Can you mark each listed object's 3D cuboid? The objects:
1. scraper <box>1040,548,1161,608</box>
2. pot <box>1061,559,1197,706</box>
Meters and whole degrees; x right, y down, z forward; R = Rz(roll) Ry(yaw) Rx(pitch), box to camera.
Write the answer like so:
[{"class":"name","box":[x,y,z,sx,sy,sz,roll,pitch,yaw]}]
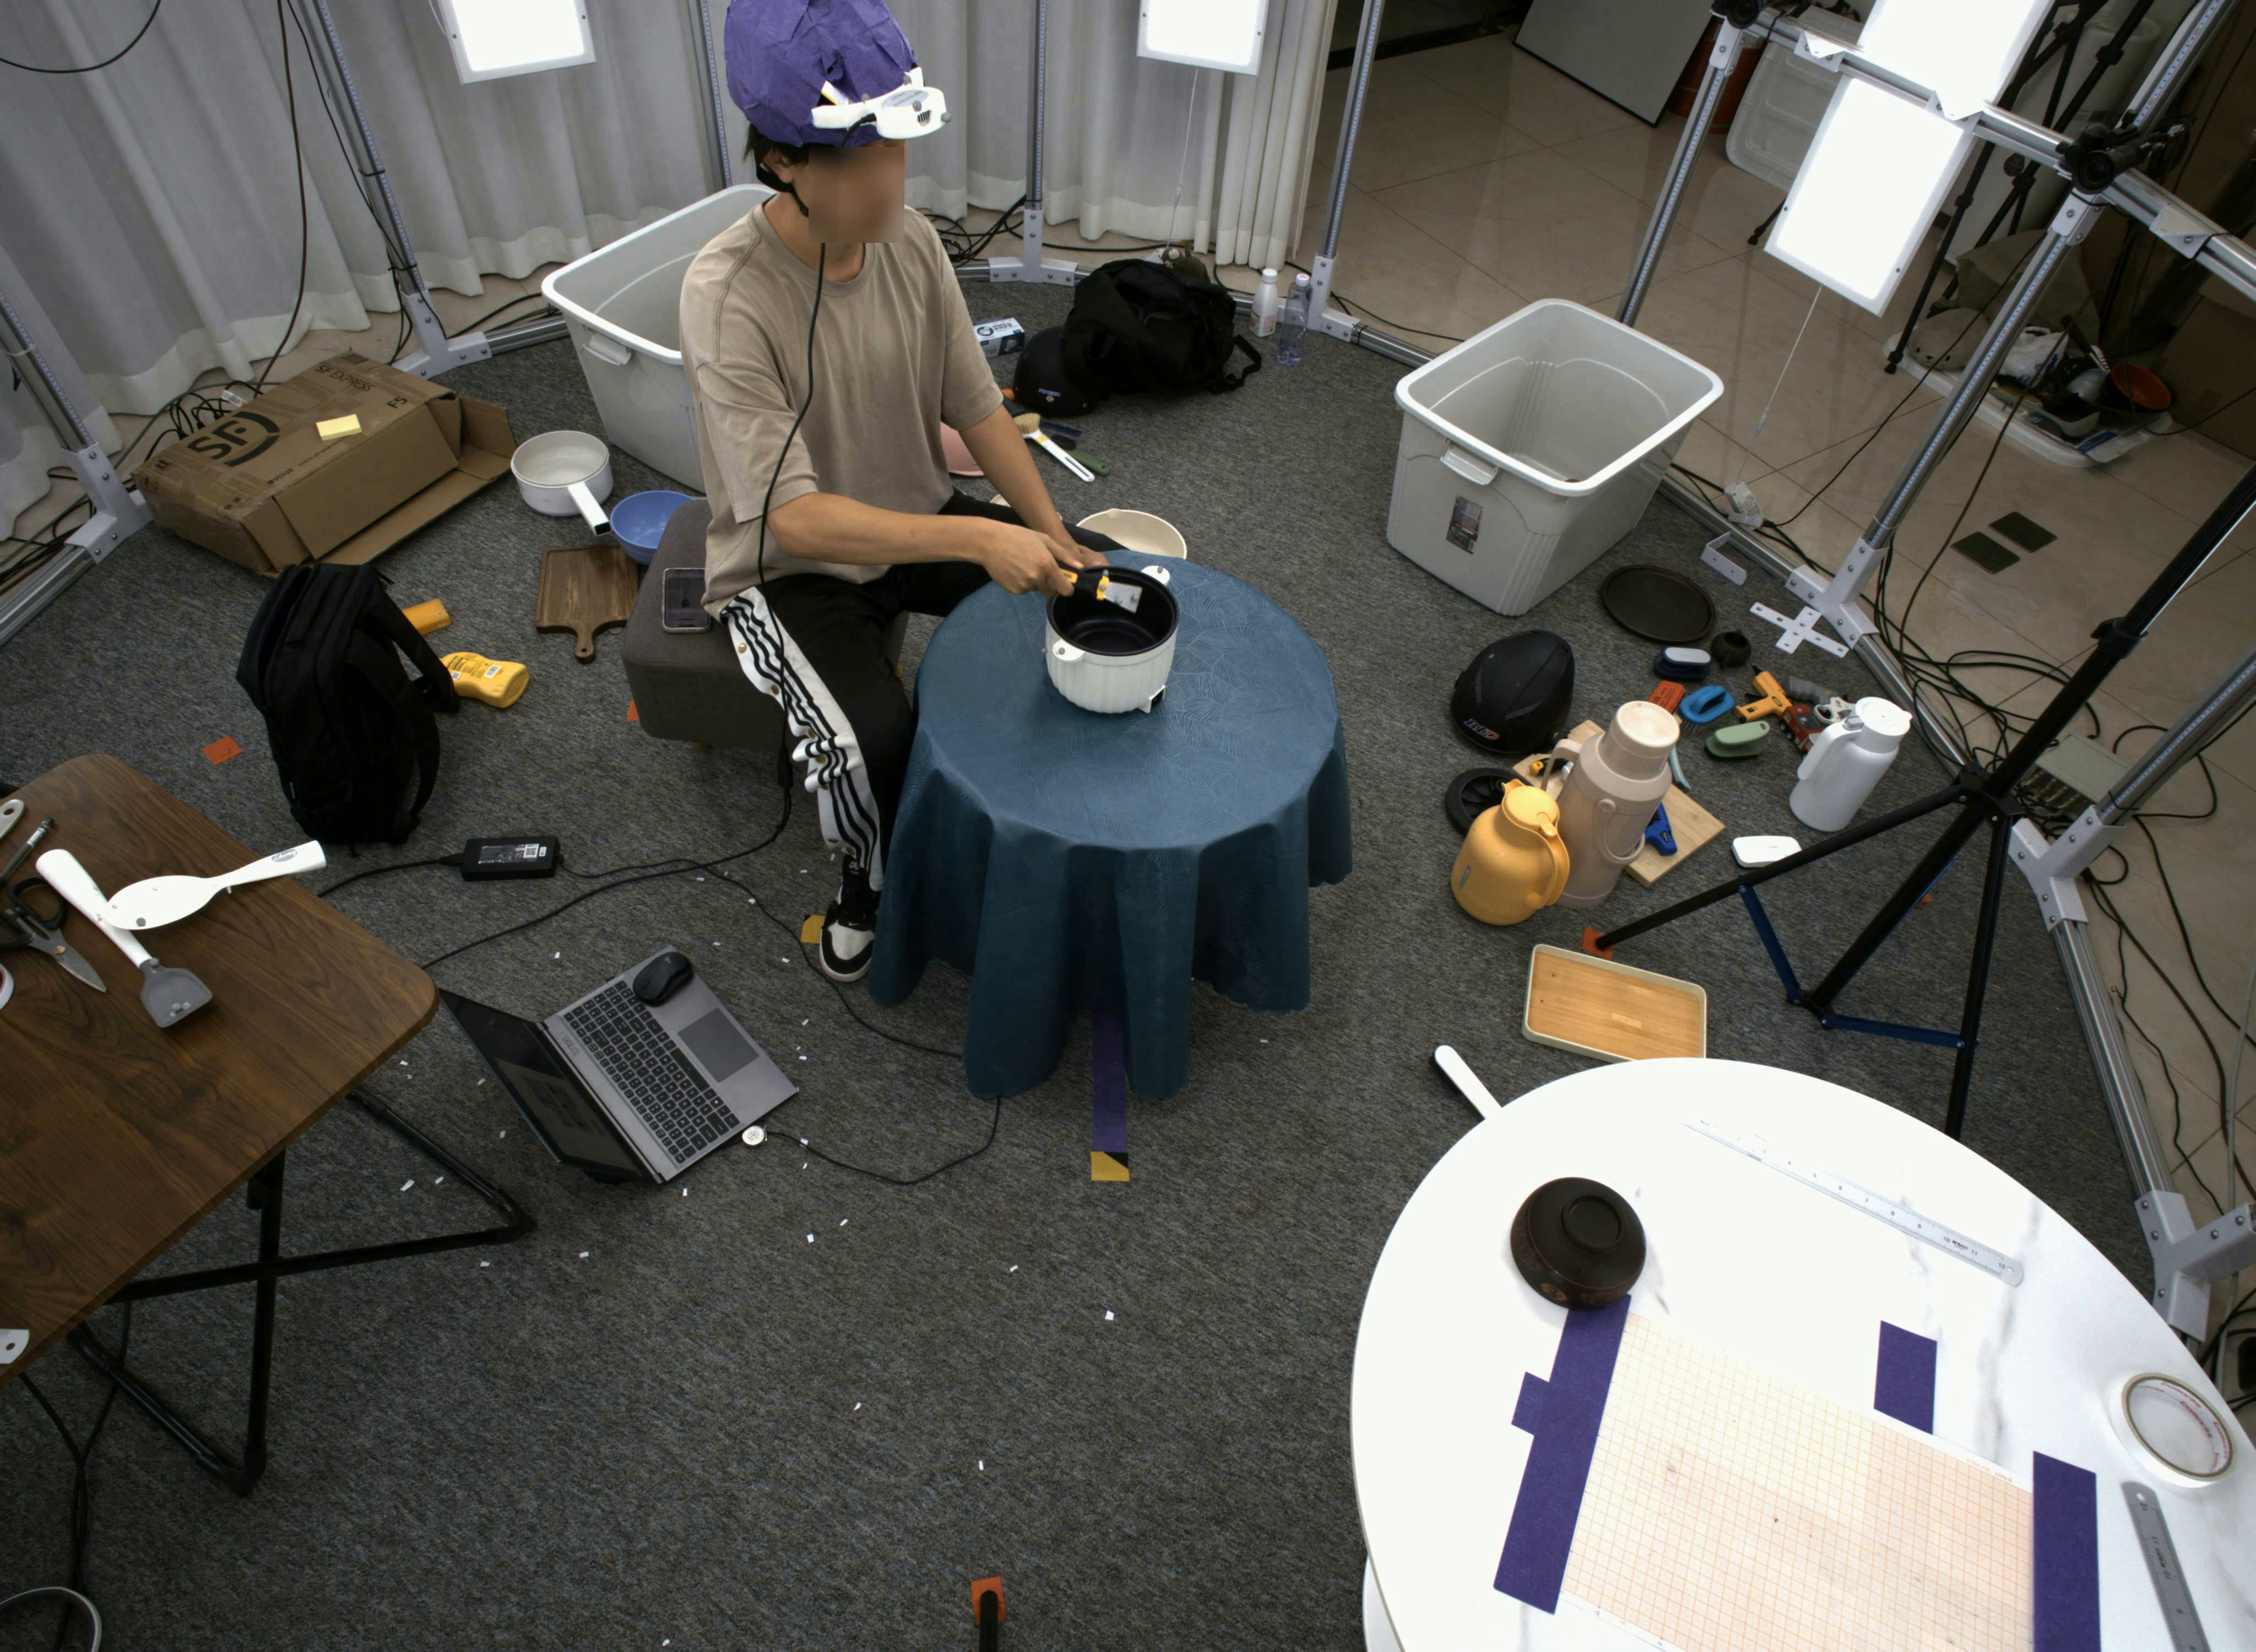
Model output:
[{"class":"scraper","box":[-0.036,-0.329,1.694,0.169,0.038,0.015,14,8,-23]},{"class":"pot","box":[-0.007,-0.265,1.792,0.192,0.139,0.243,33,52,17]}]
